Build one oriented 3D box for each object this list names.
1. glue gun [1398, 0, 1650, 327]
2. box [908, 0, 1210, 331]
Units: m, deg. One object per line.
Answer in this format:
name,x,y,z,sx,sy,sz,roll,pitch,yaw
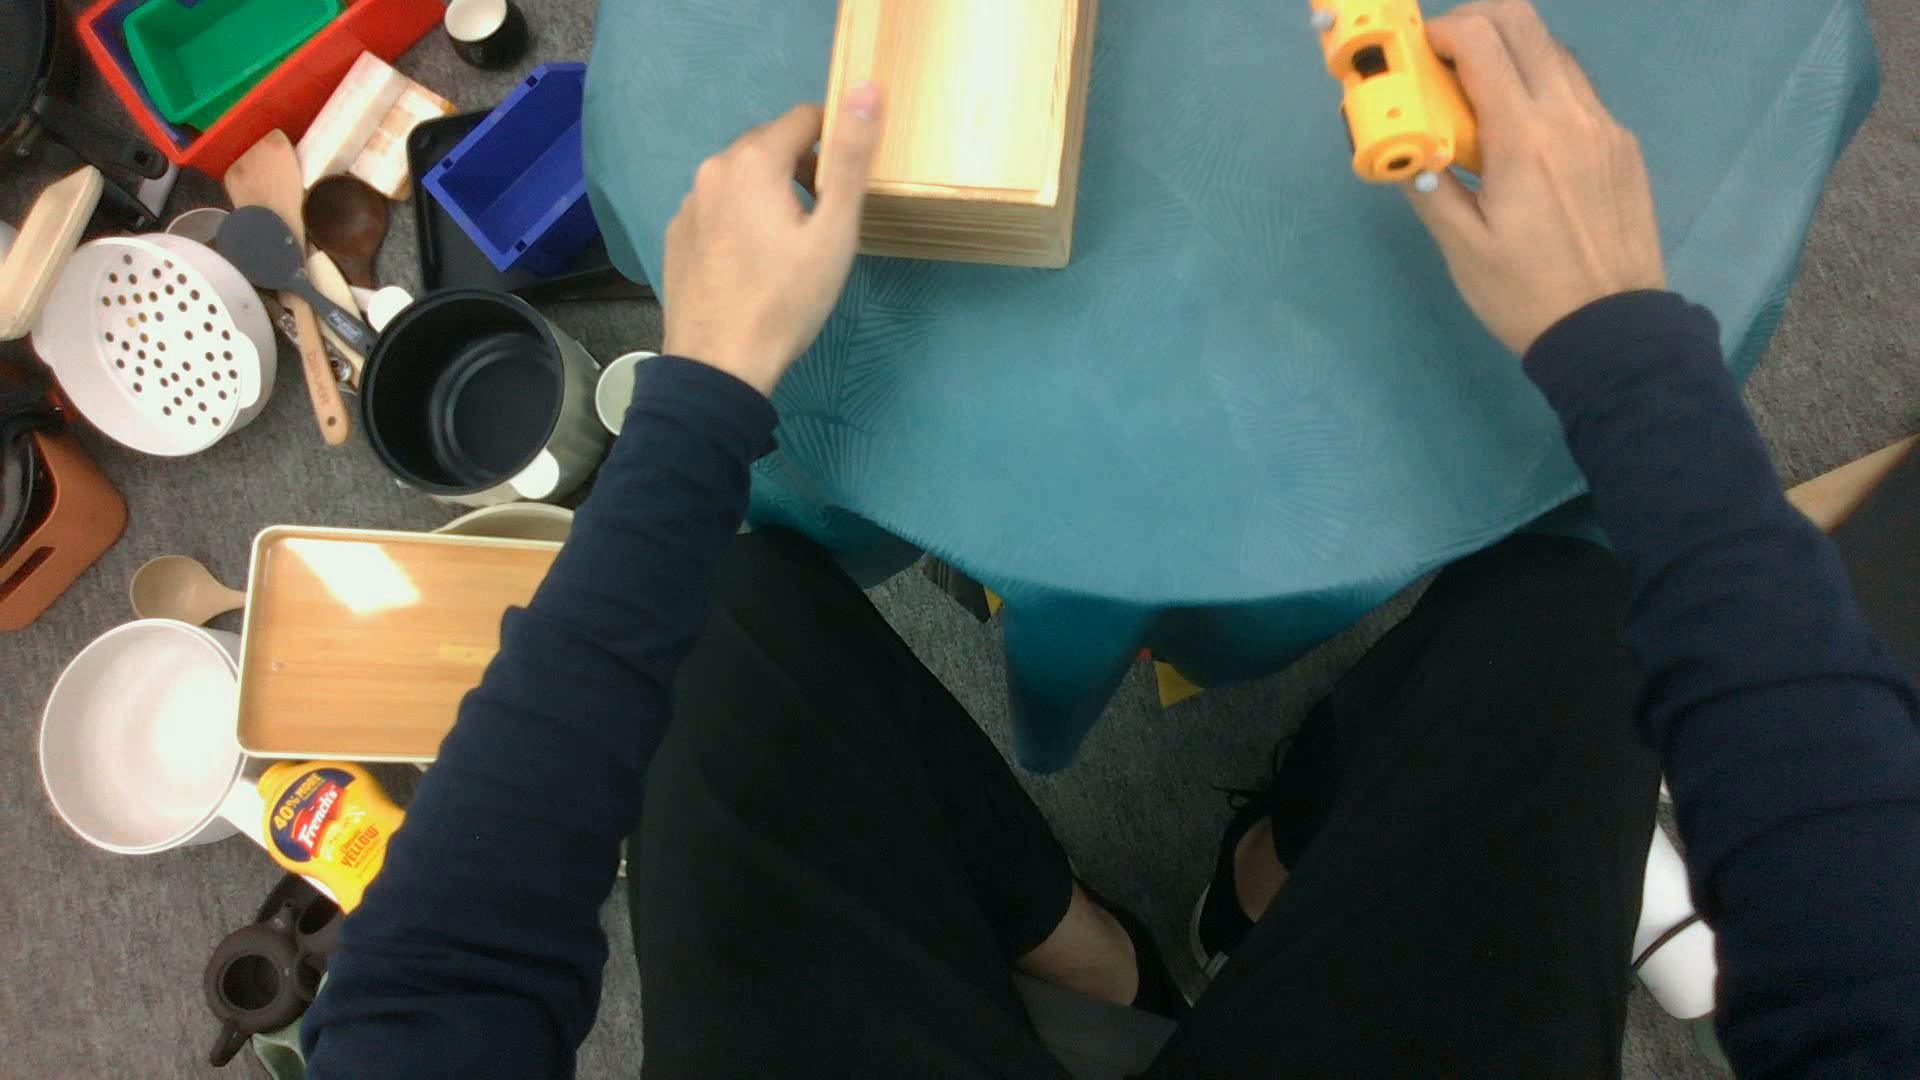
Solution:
glue gun,0.227,-0.169,0.564,0.031,0.133,0.152,-30,56,43
box,0.055,-0.218,0.661,0.107,0.080,0.212,8,80,13
